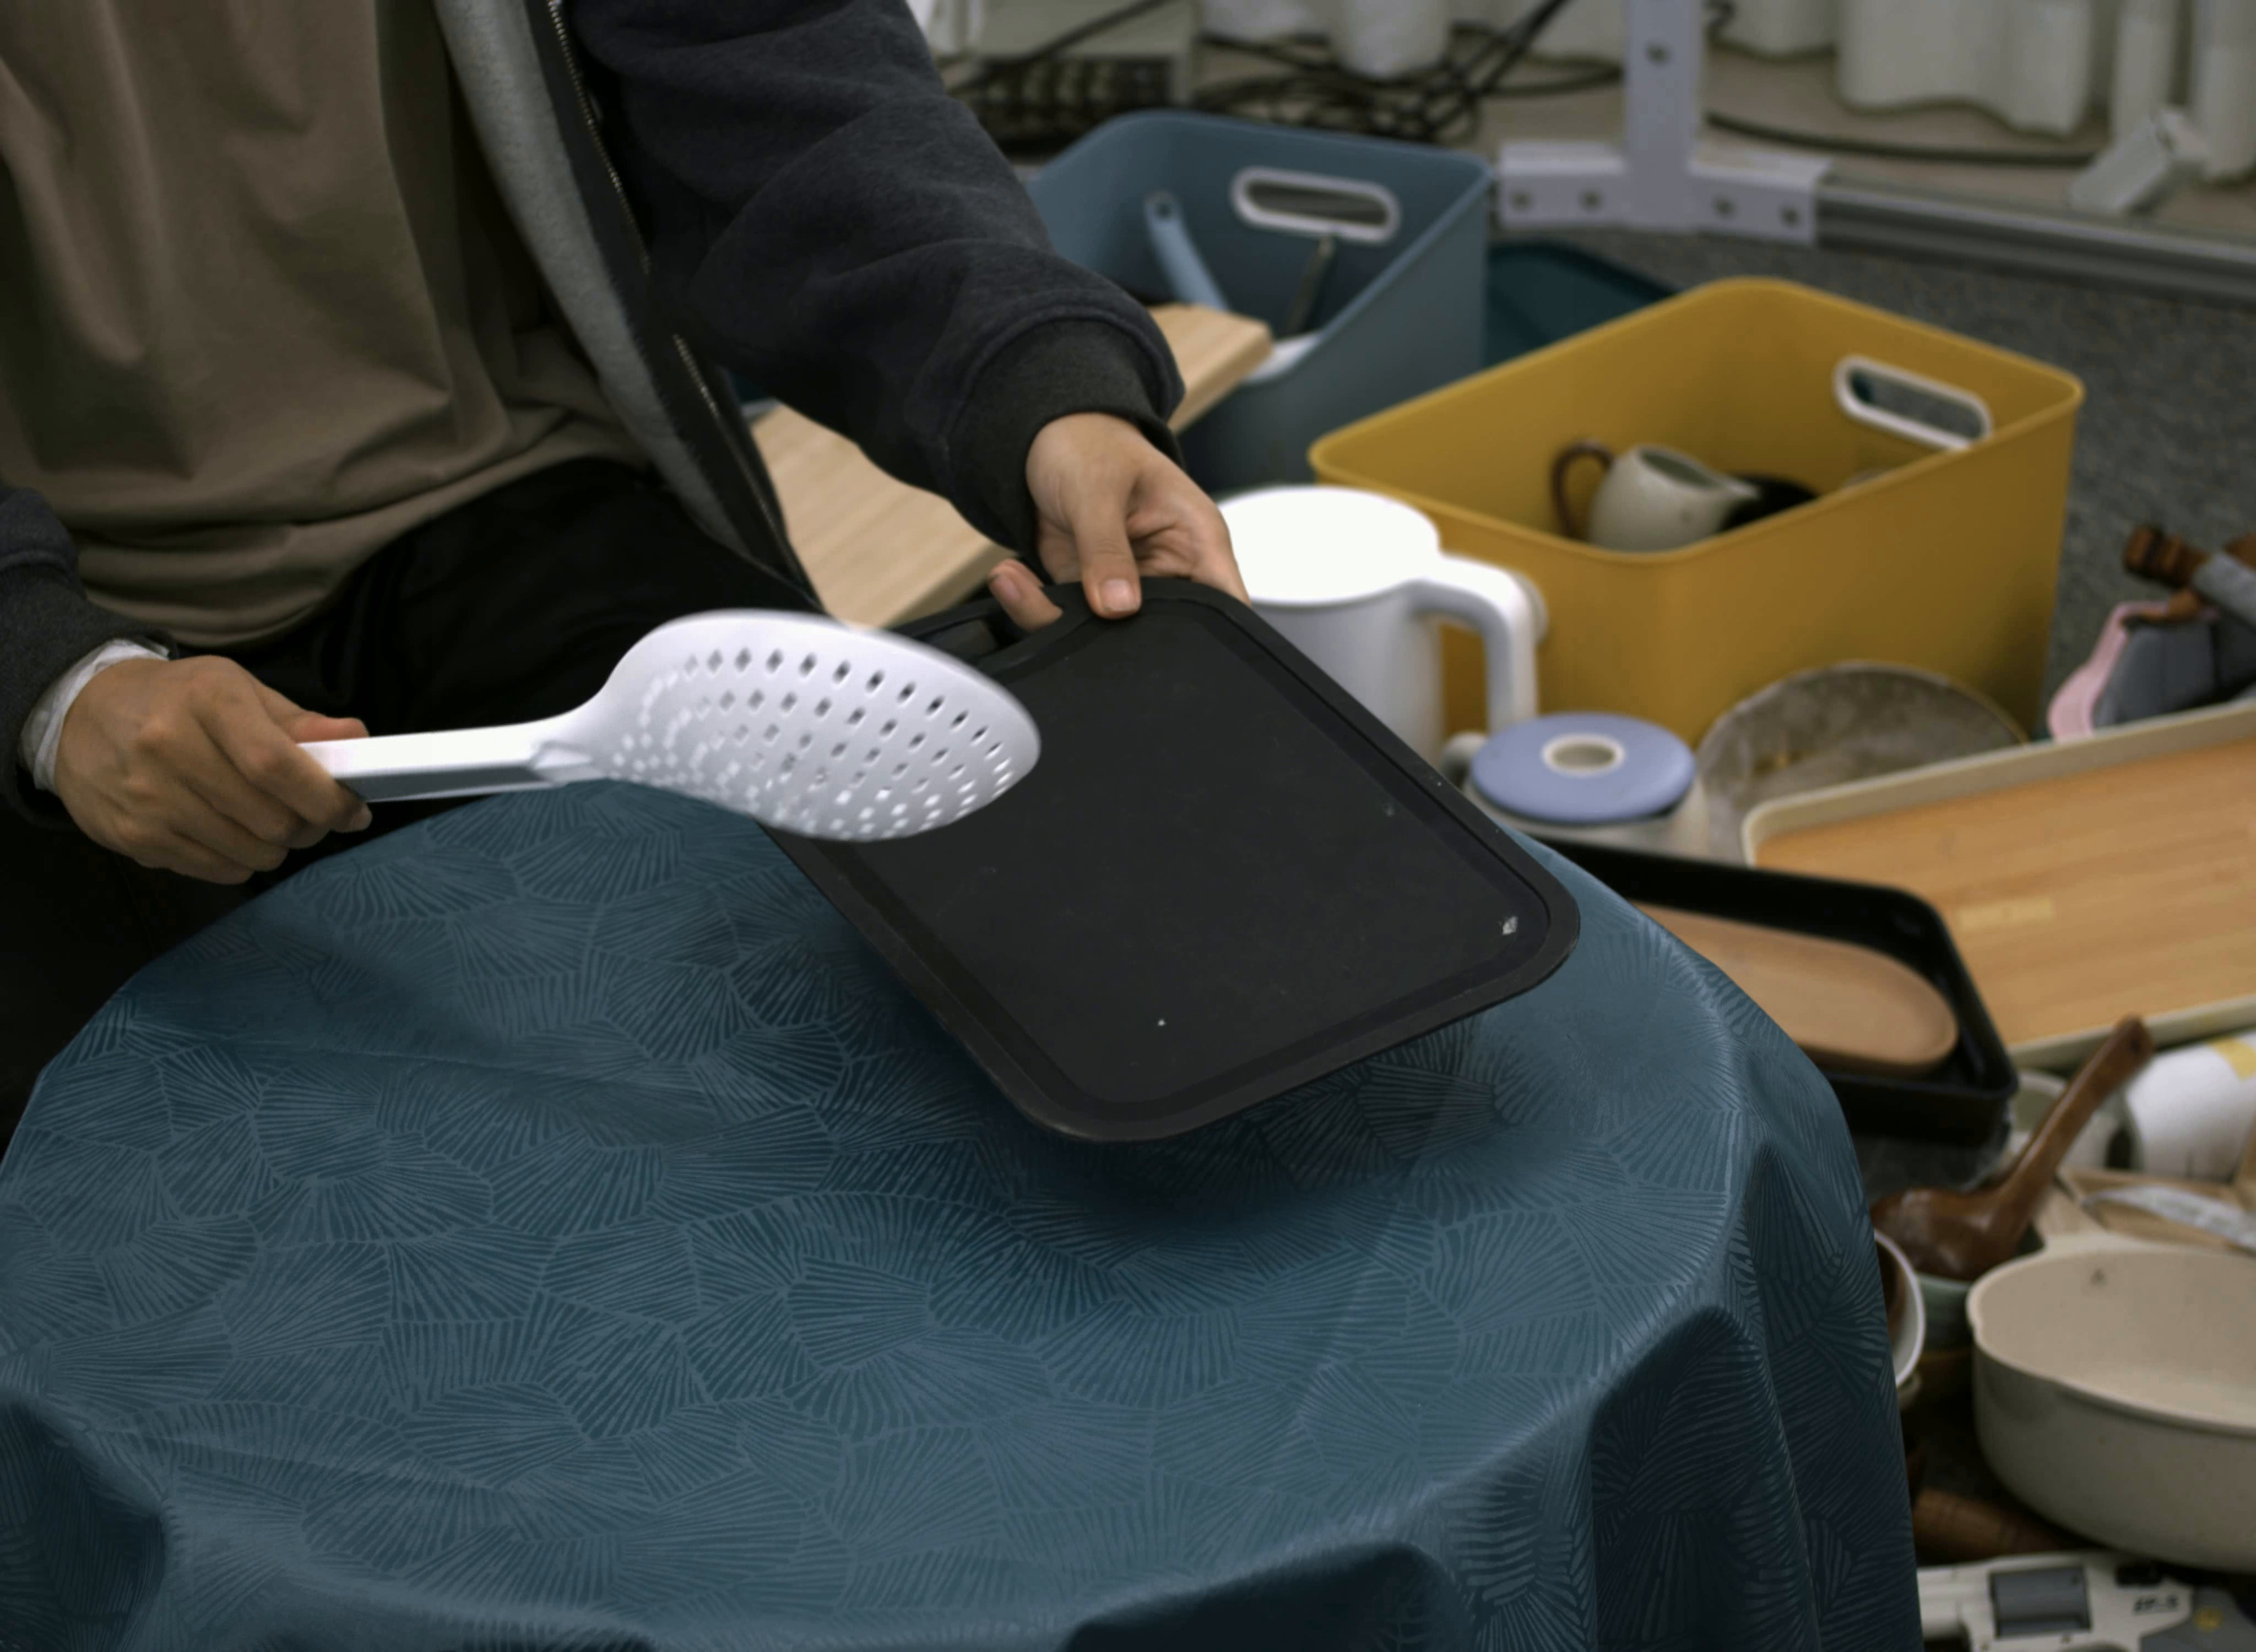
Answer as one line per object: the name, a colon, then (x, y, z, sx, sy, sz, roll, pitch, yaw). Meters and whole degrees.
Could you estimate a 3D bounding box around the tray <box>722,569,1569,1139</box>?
tray: (-0.004, -0.001, 1.951, 0.212, 0.009, 0.328, -21, 37, -20)

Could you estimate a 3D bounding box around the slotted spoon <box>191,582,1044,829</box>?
slotted spoon: (-0.183, -0.029, 1.892, 0.346, 0.135, 0.046, 0, 60, 37)
